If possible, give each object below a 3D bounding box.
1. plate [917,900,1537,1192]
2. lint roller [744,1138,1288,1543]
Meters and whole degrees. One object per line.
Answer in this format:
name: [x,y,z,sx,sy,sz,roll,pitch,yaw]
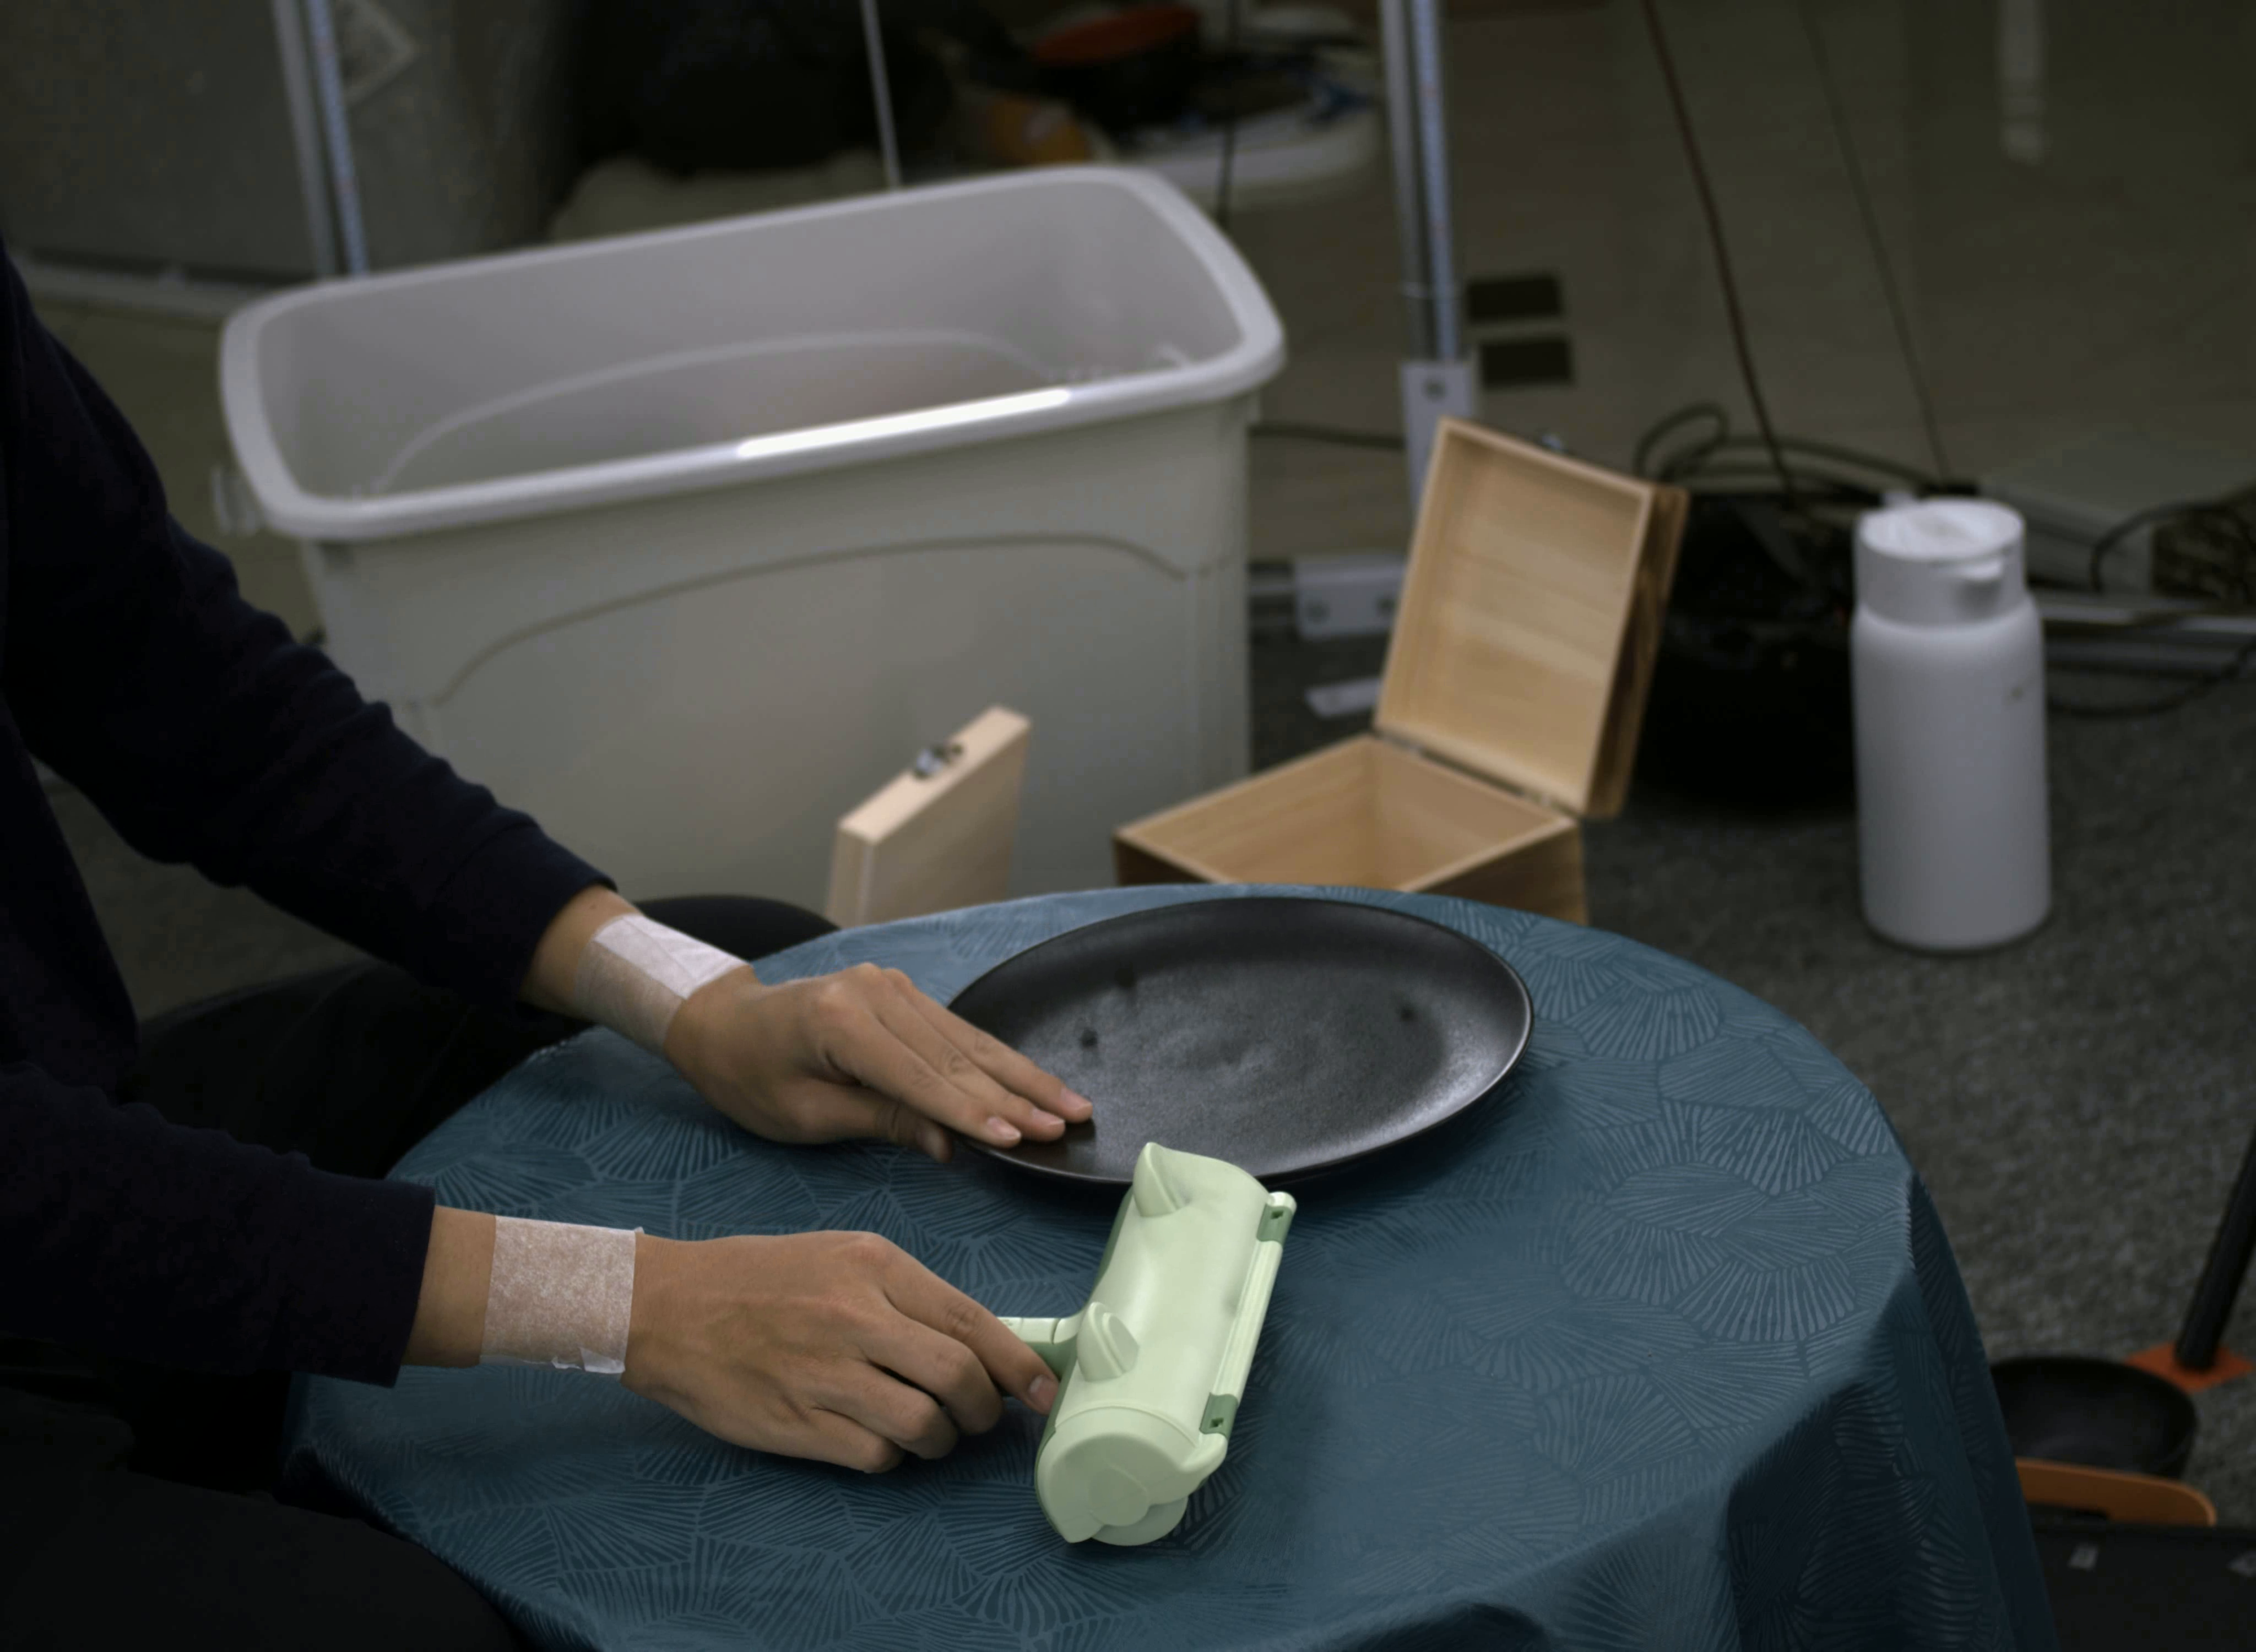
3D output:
plate: [0.039,0.090,2.213,0.244,0.024,0.241,-5,25,3]
lint roller: [-0.046,0.170,1.989,0.183,0.083,0.196,4,25,8]
